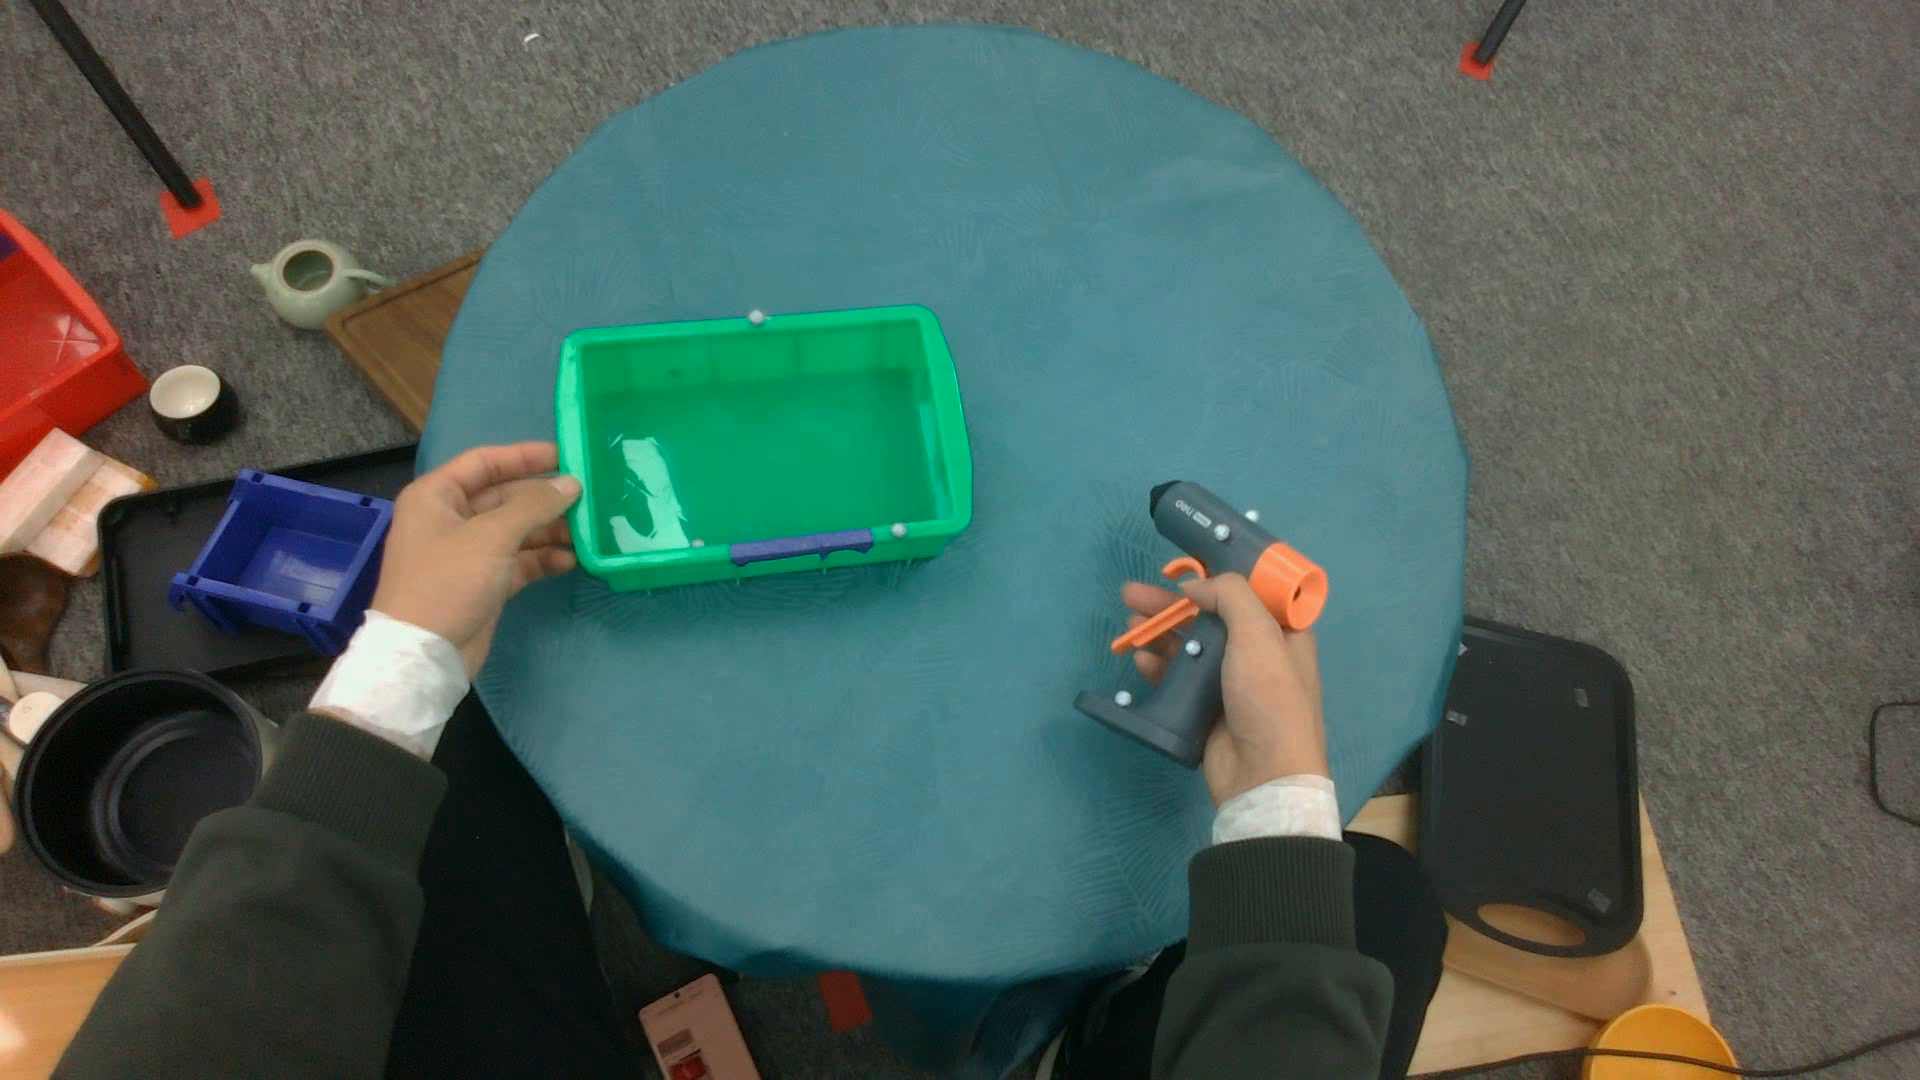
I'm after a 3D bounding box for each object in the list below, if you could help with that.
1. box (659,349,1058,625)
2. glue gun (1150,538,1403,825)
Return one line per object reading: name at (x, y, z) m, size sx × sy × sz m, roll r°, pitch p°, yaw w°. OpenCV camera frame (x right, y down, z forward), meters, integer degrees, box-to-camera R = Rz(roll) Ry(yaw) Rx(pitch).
box at (-0.057, -0.026, 0.765) m, size 0.211 × 0.065 × 0.139 m, roll -5°, pitch 68°, yaw -9°
glue gun at (0.158, 0.067, 0.713) m, size 0.118 × 0.041 × 0.140 m, roll 19°, pitch 74°, yaw 52°
